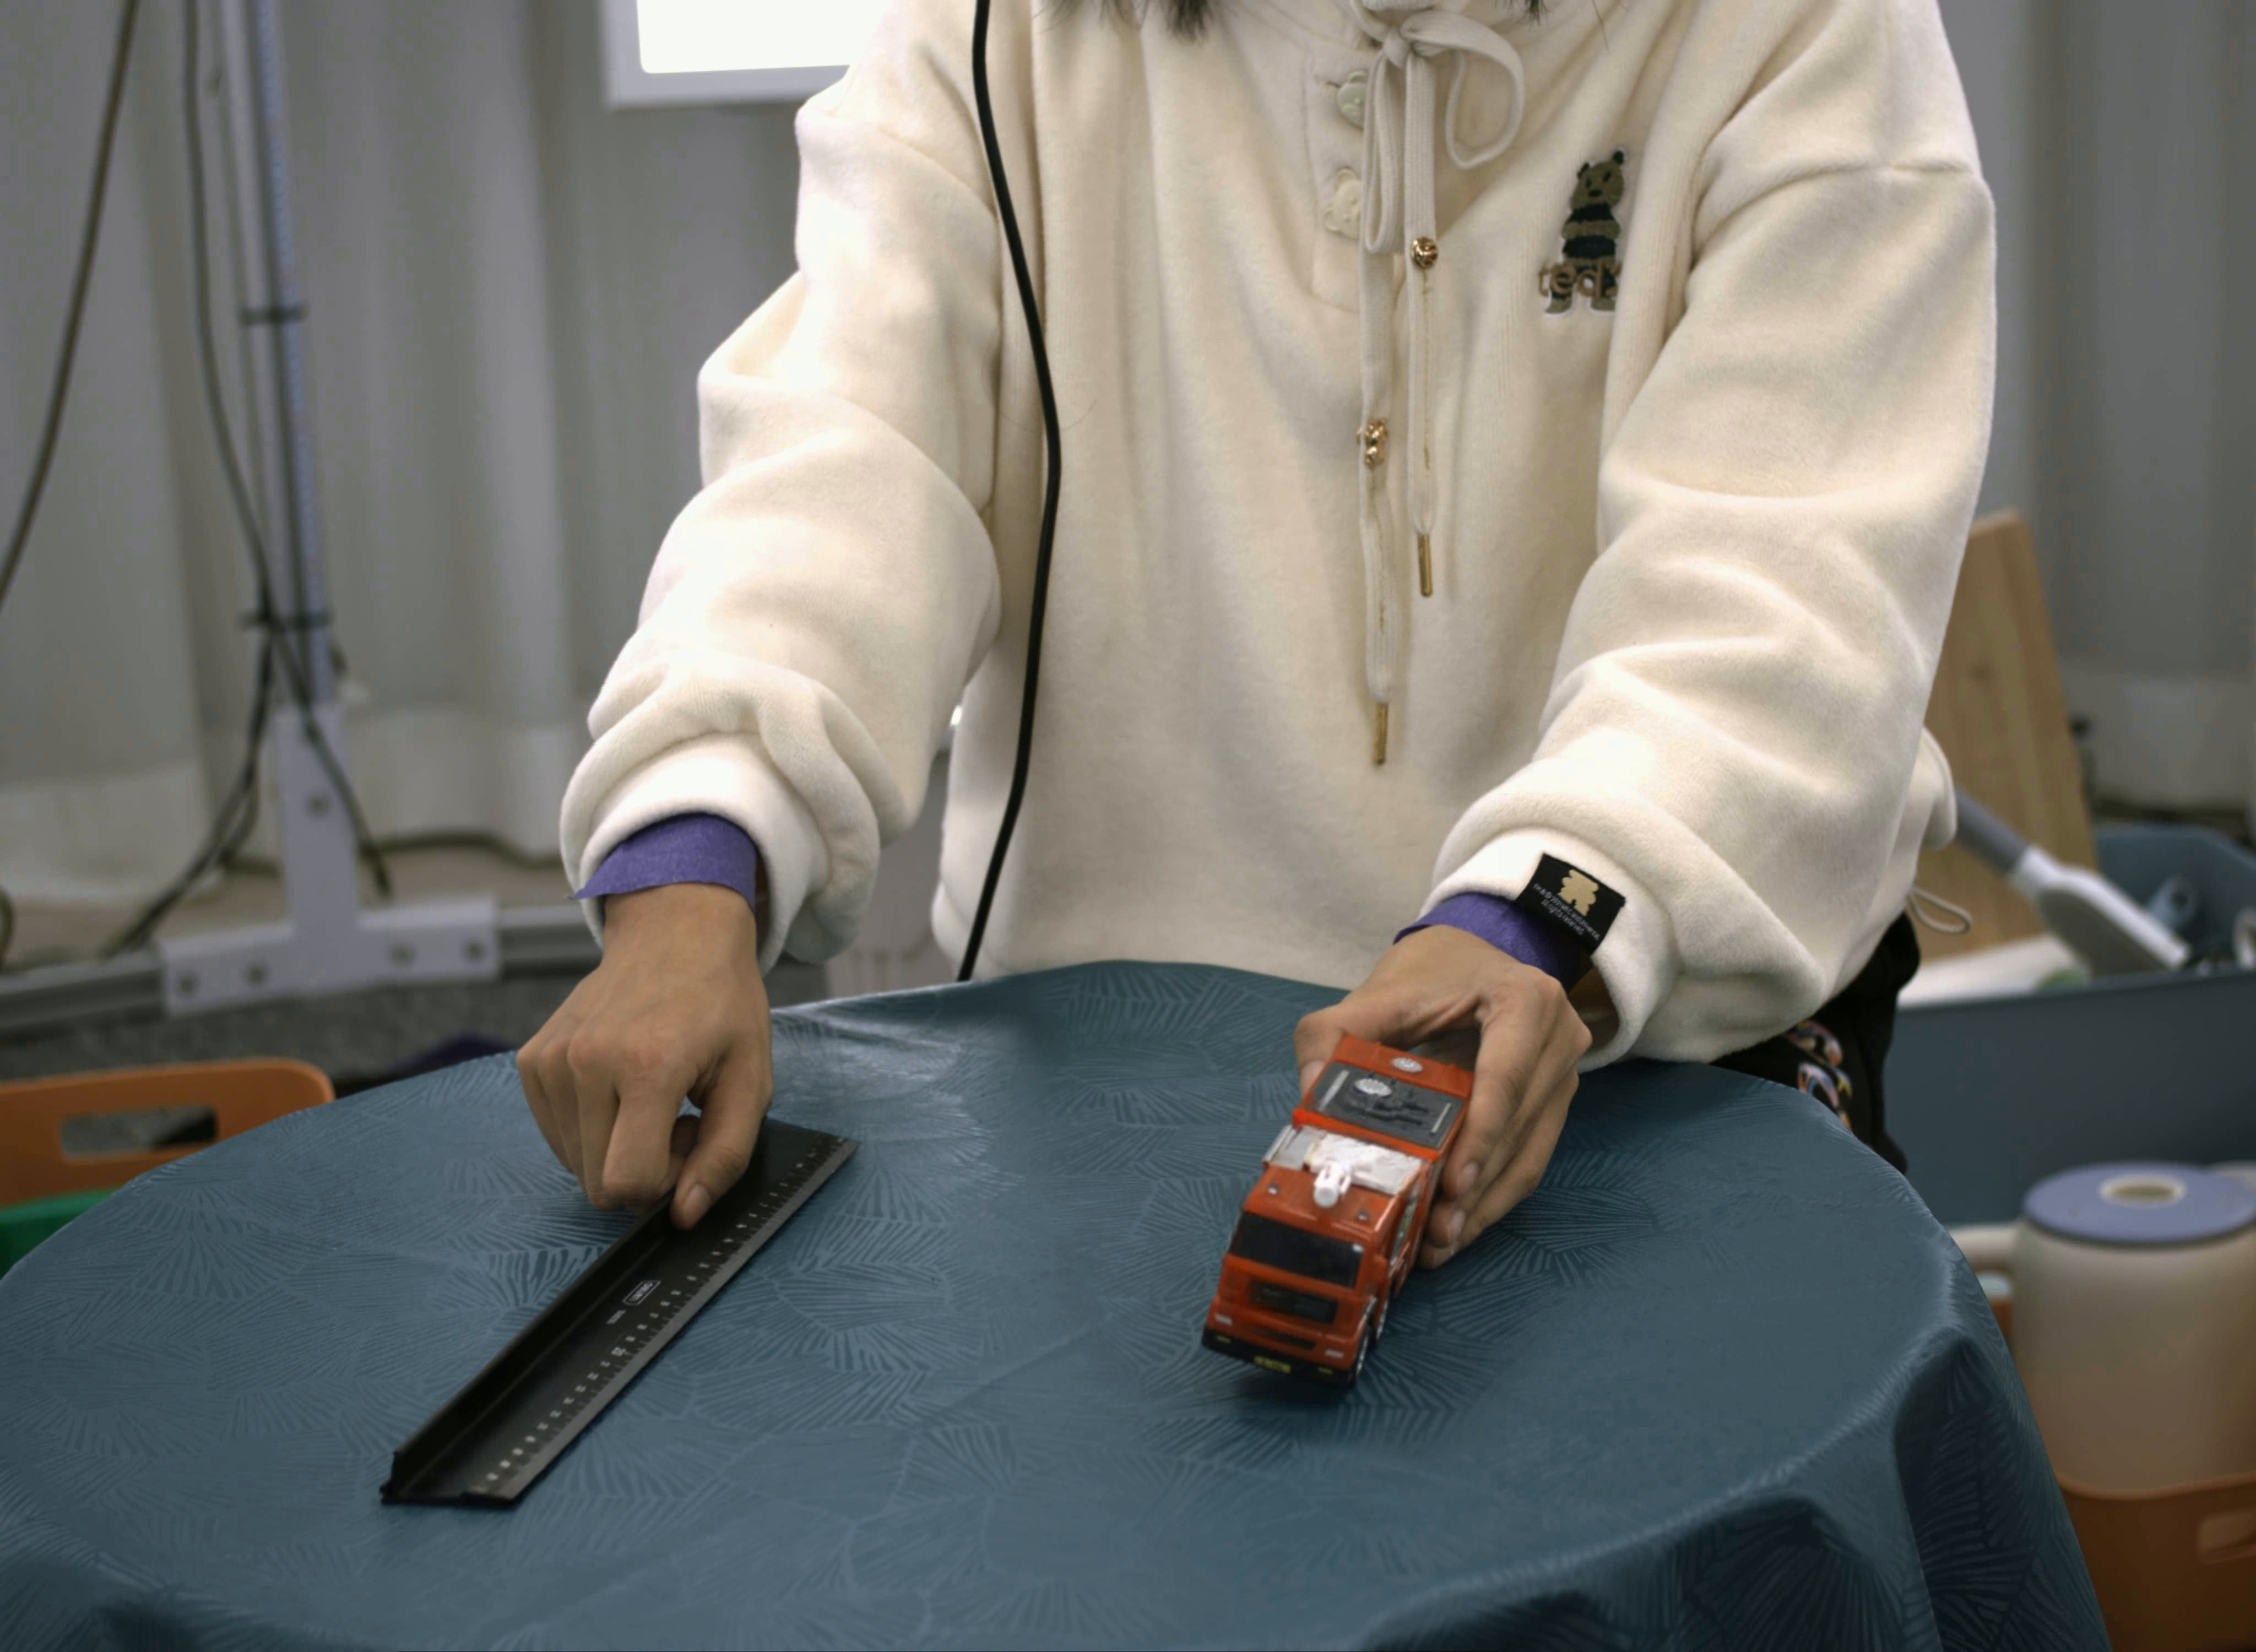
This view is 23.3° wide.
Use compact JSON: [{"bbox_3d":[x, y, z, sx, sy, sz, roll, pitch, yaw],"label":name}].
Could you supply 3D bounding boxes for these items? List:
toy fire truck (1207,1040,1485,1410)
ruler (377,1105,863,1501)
[{"bbox_3d":[0.065,0.112,1.585,0.054,0.070,0.168,15,17,10],"label":"toy fire truck"},{"bbox_3d":[-0.145,0.137,1.625,0.039,0.017,0.314,3,16,16],"label":"ruler"}]
